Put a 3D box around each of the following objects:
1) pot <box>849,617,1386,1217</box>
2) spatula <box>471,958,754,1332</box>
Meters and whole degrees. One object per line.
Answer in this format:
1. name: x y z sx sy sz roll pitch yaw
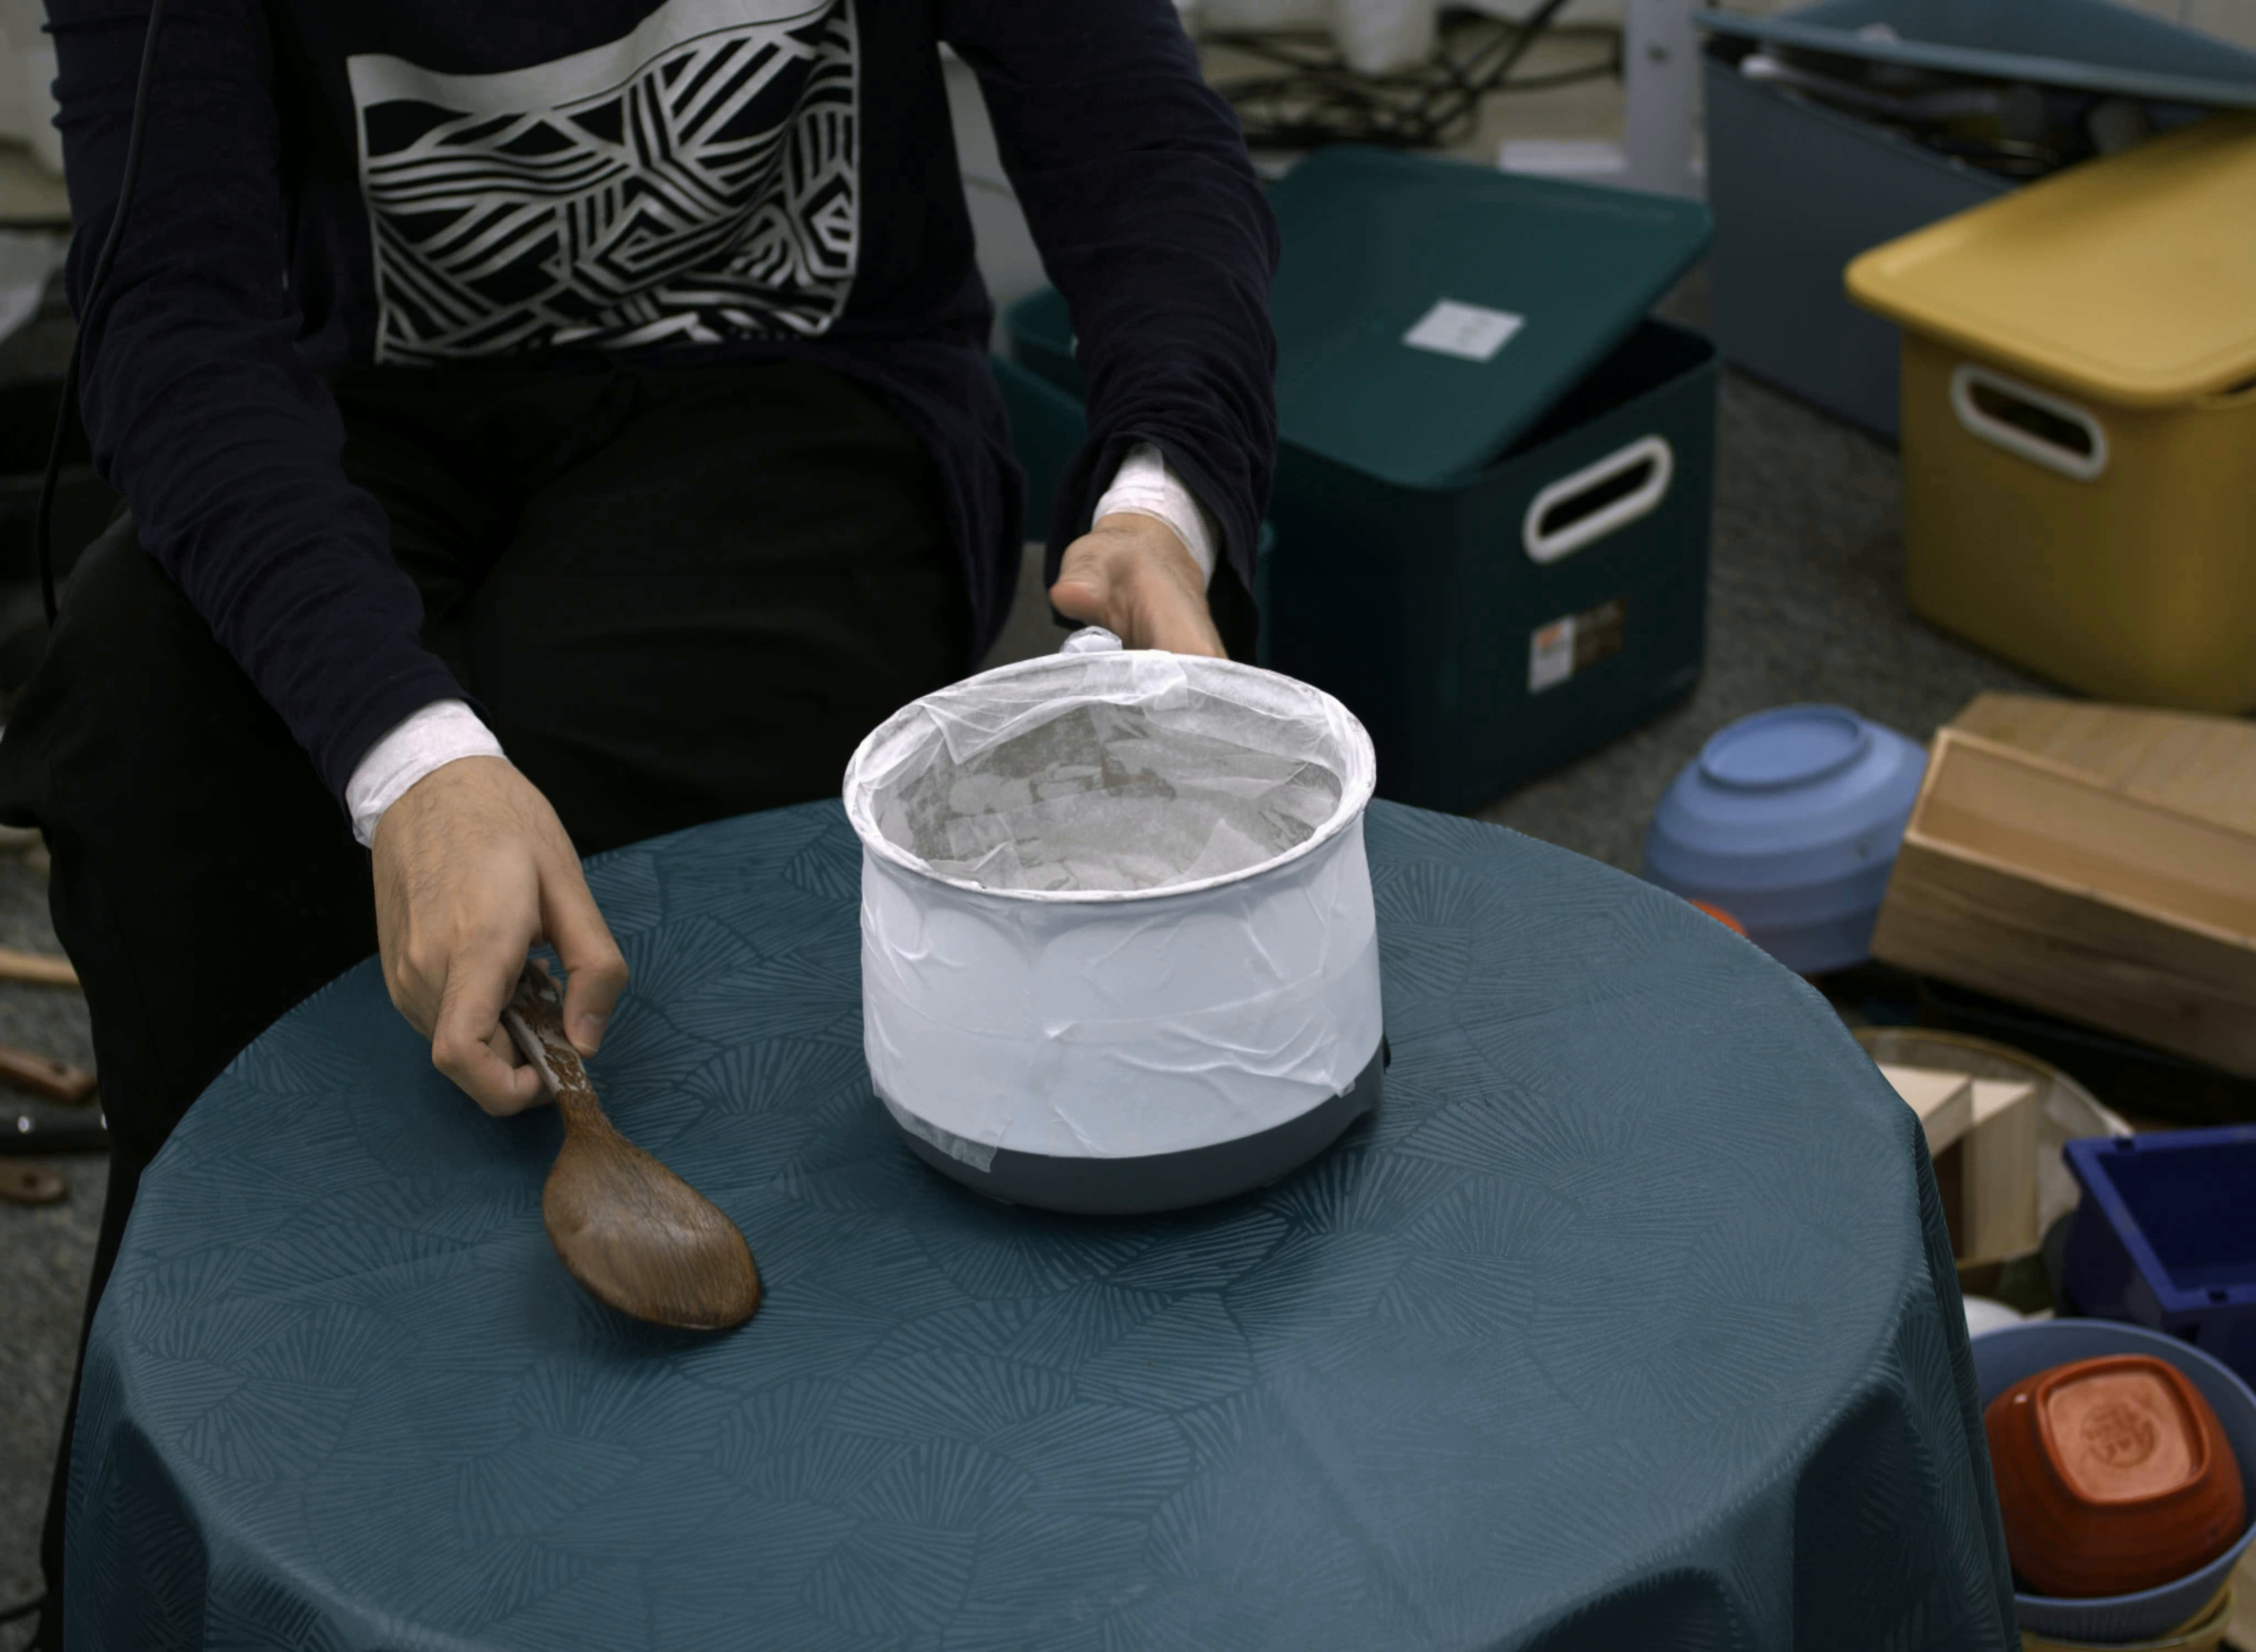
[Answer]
1. pot: -0.006 0.023 1.901 0.178 0.135 0.237 -2 28 -5
2. spatula: -0.180 0.103 1.862 0.072 0.009 0.218 14 24 -31
